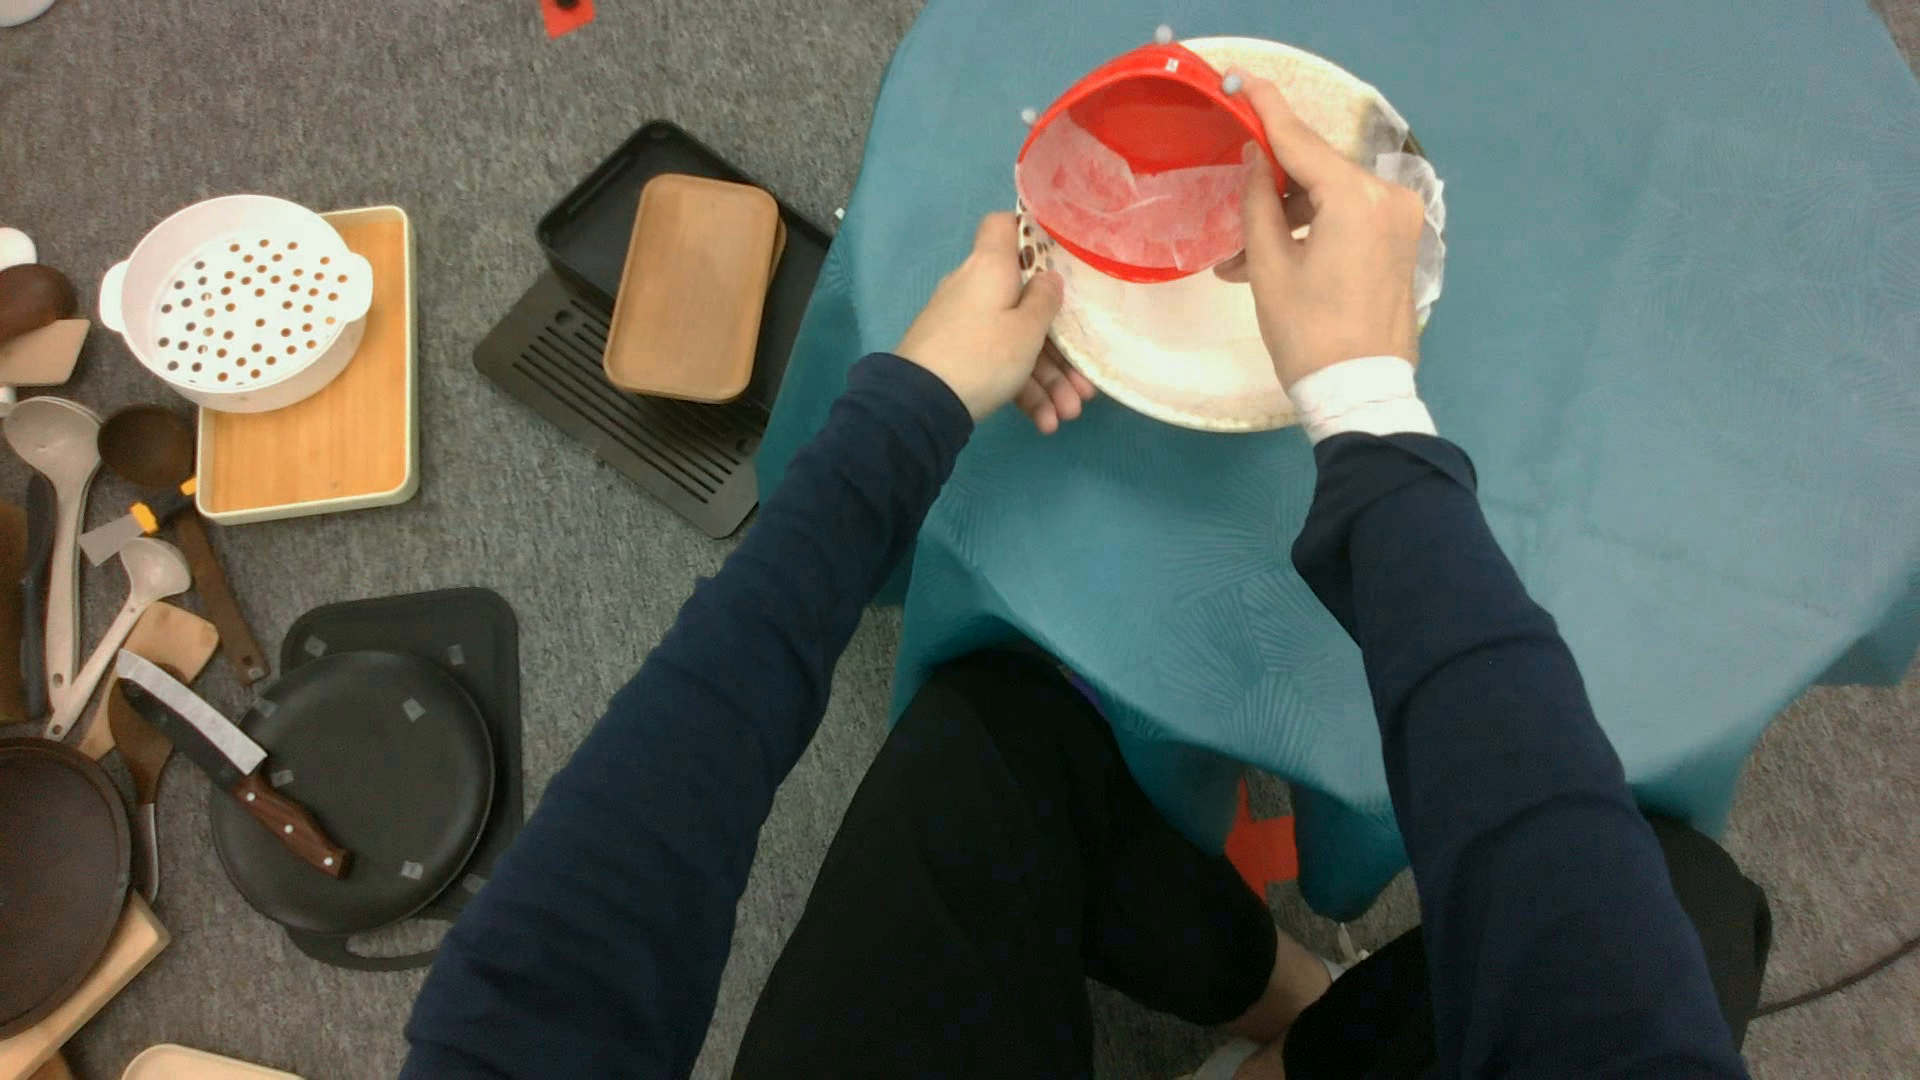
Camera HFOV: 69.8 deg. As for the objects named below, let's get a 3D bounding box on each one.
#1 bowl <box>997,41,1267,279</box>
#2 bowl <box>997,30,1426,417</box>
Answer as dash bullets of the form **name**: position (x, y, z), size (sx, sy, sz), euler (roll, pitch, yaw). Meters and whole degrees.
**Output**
- **bowl**: position (0.079, -0.178, 0.624), size (0.119, 0.118, 0.051), euler (7, 56, 2)
- **bowl**: position (0.121, -0.146, 0.692), size (0.204, 0.078, 0.204), euler (0, 76, 1)
